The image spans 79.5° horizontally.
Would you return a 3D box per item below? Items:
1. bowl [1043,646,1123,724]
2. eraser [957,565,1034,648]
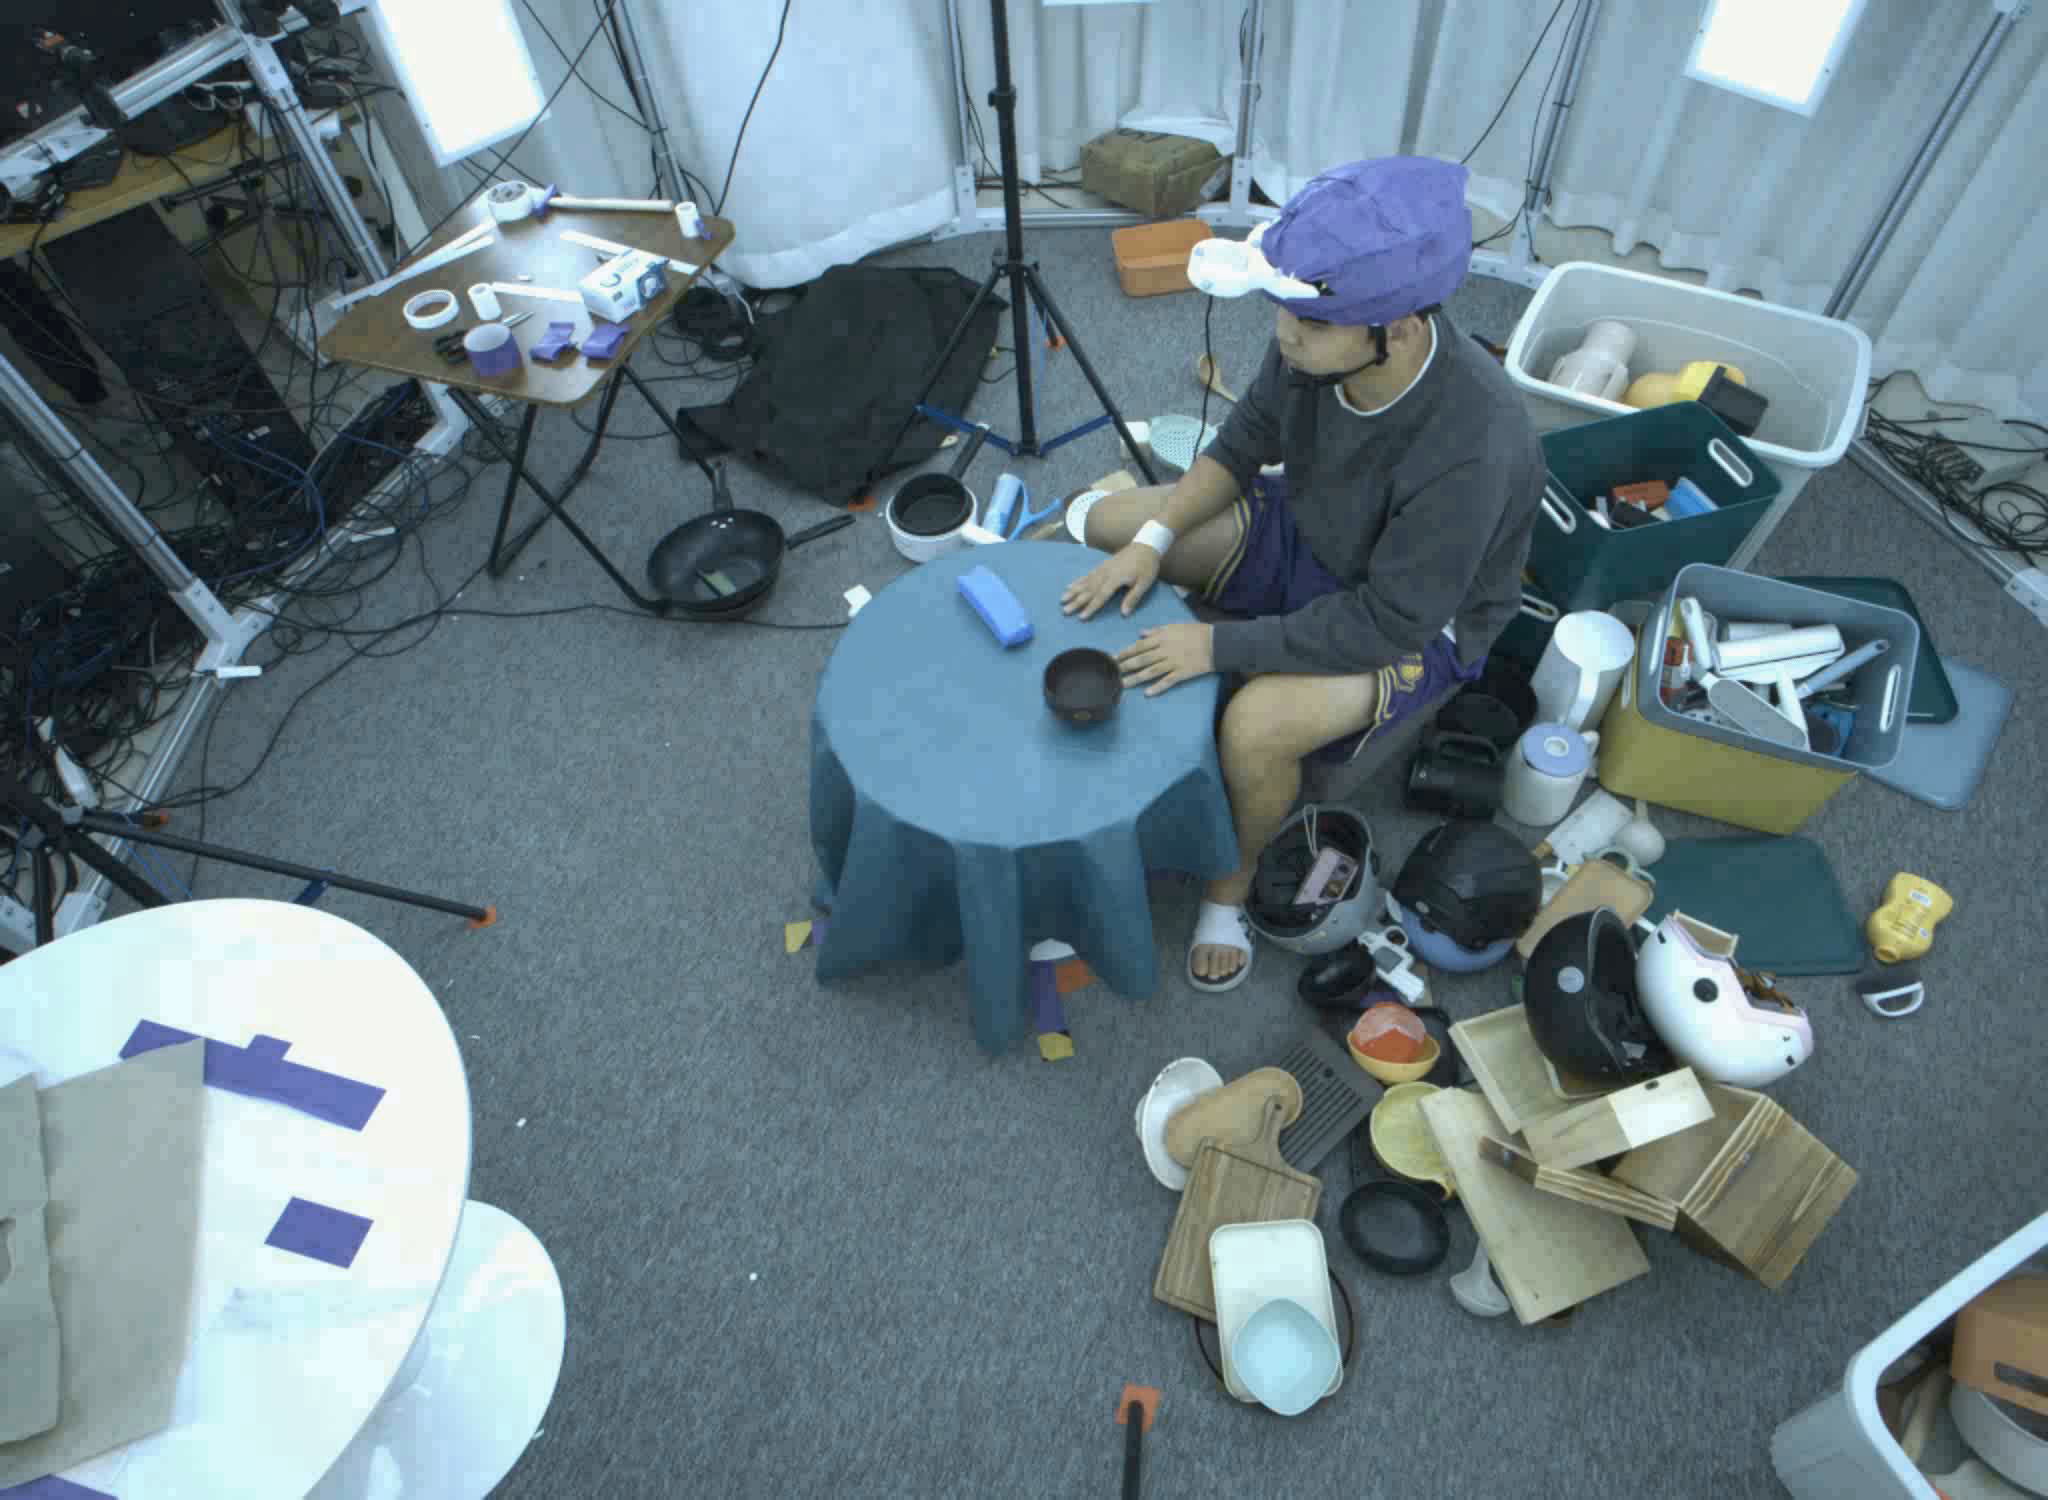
[{"bbox_3d":[0.086,-0.087,1.803,0.118,0.070,0.117,0,54,2],"label":"bowl"},{"bbox_3d":[-0.047,-0.230,1.927,0.054,0.048,0.159,-30,59,-15],"label":"eraser"}]
